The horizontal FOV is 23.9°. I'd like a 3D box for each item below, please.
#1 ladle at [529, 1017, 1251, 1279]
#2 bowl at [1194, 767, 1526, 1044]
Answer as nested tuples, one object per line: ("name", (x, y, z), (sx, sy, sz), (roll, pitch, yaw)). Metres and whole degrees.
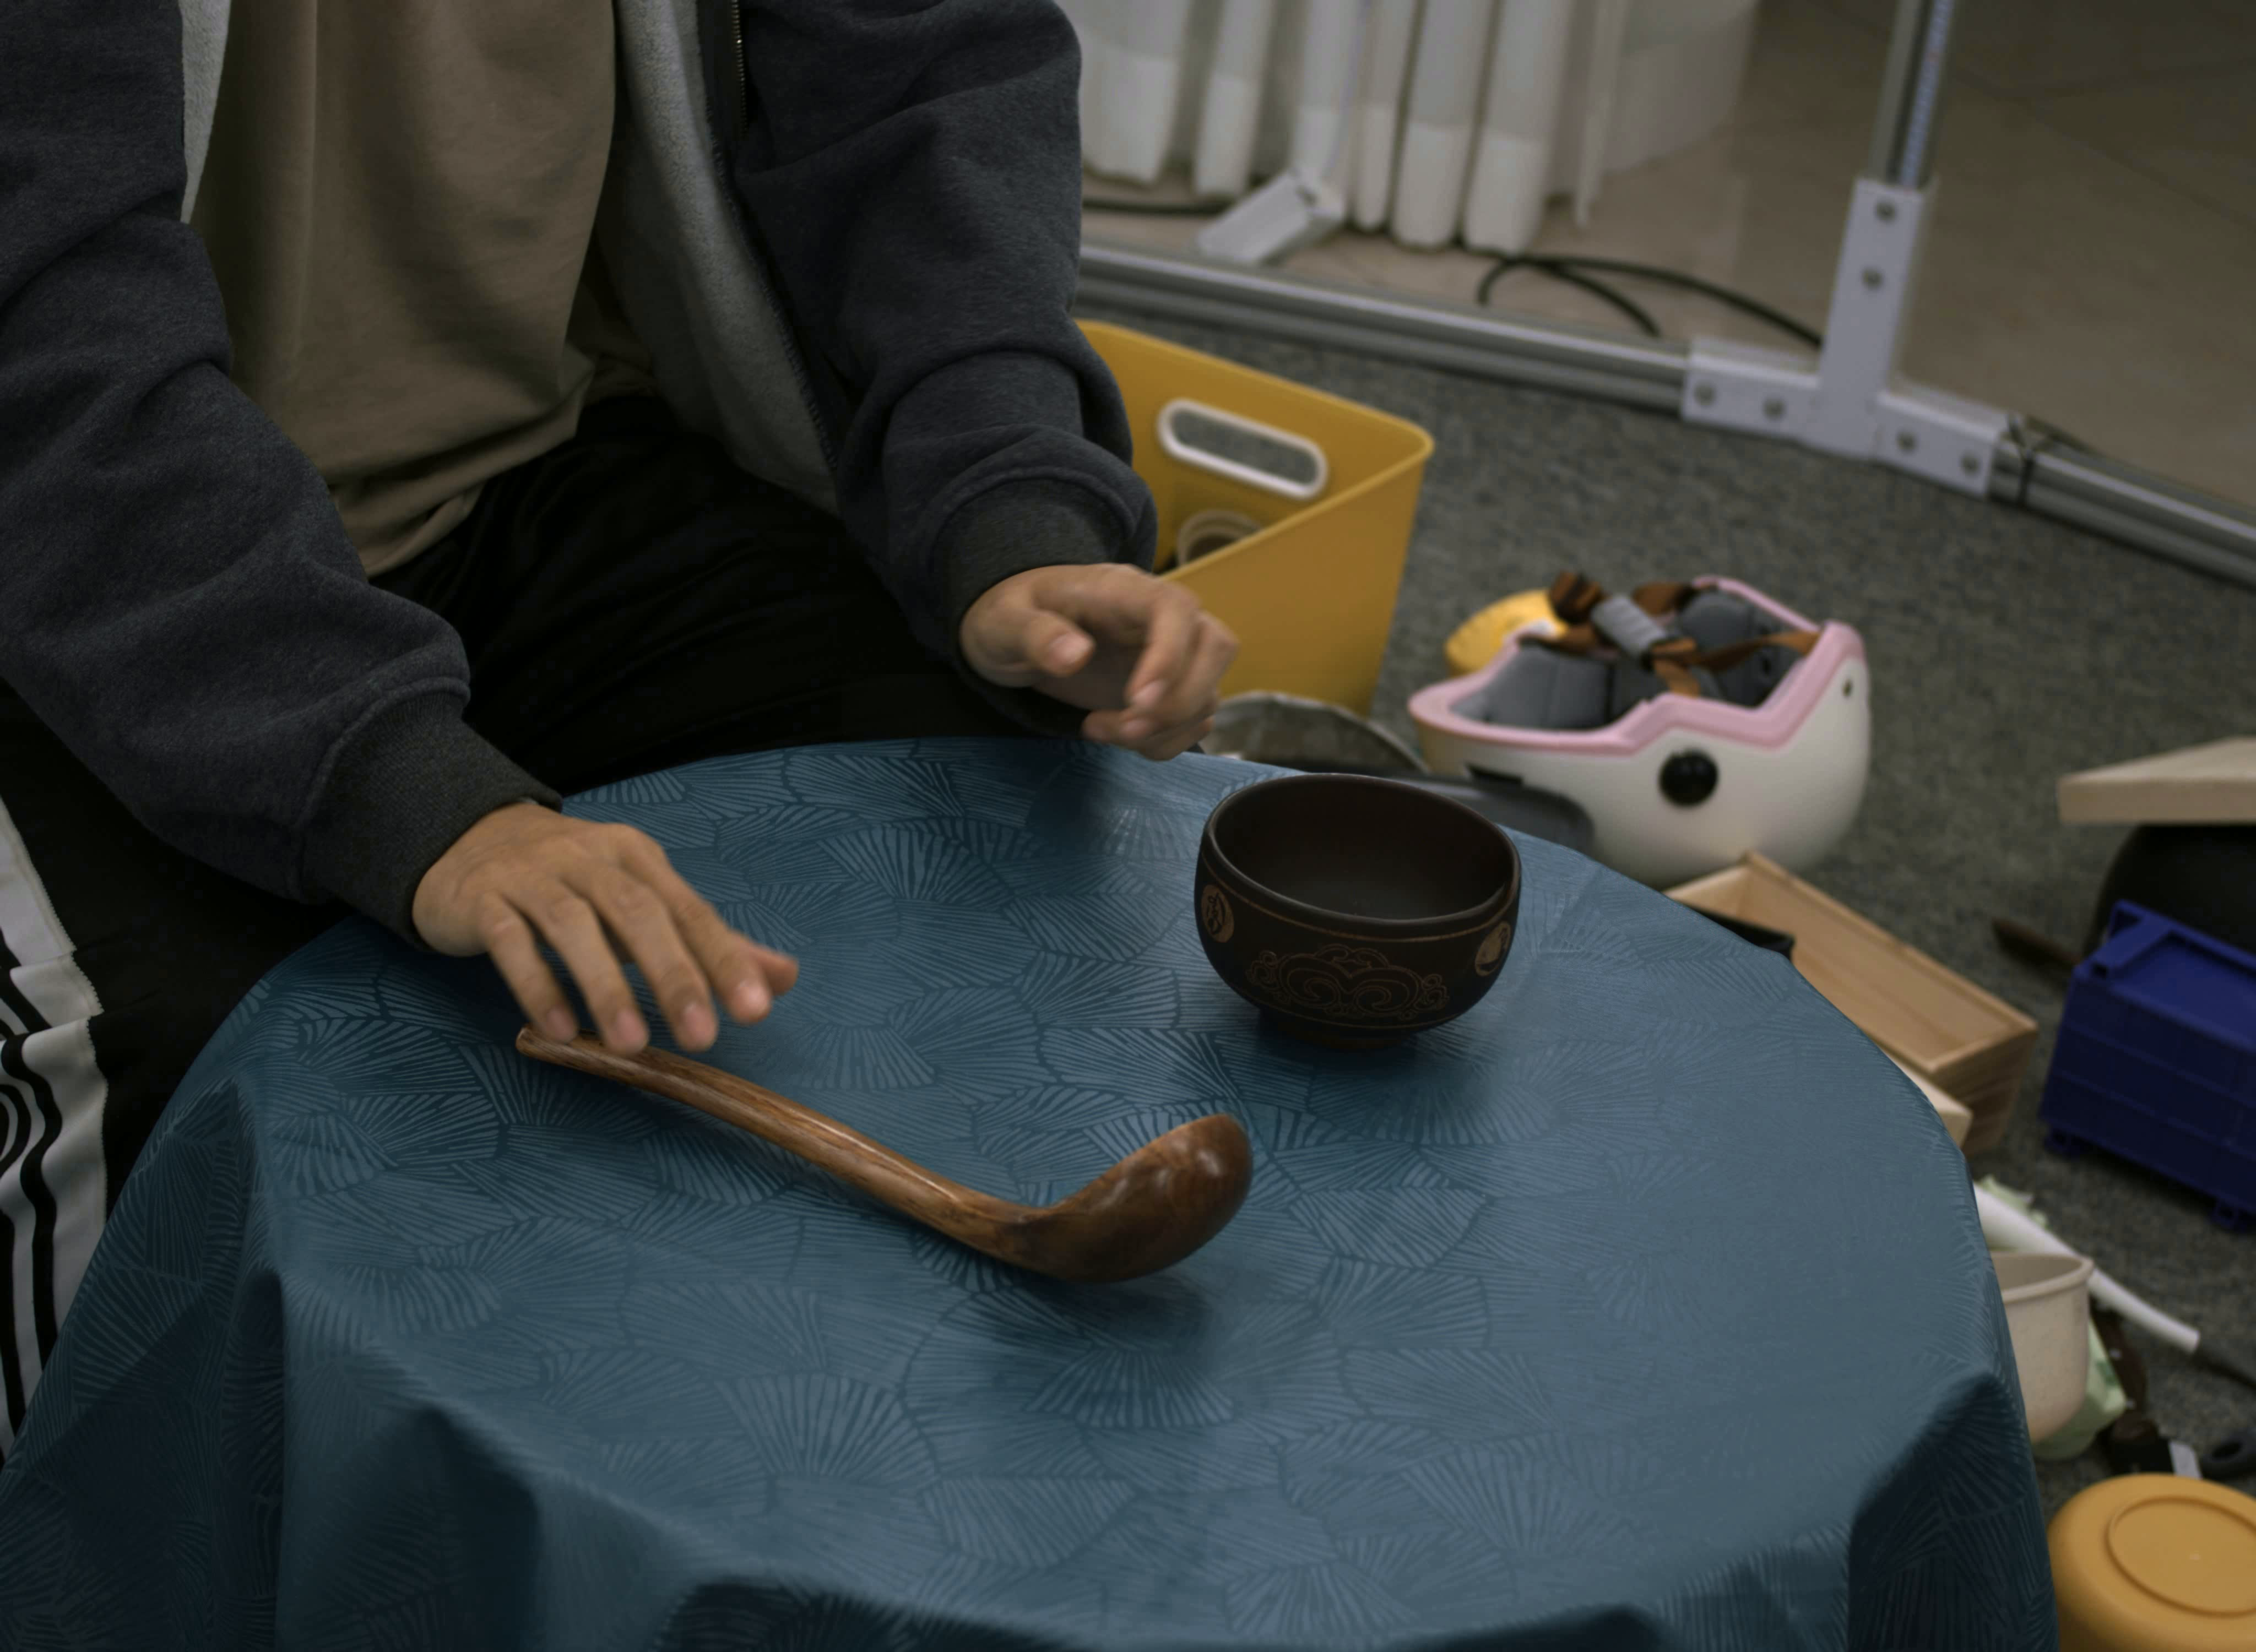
("ladle", (-0.084, 0.085, 1.773), (0.275, 0.076, 0.081), (22, 8, 29))
("bowl", (0.081, 0.035, 1.912), (0.117, 0.069, 0.119), (5, 27, -3))
